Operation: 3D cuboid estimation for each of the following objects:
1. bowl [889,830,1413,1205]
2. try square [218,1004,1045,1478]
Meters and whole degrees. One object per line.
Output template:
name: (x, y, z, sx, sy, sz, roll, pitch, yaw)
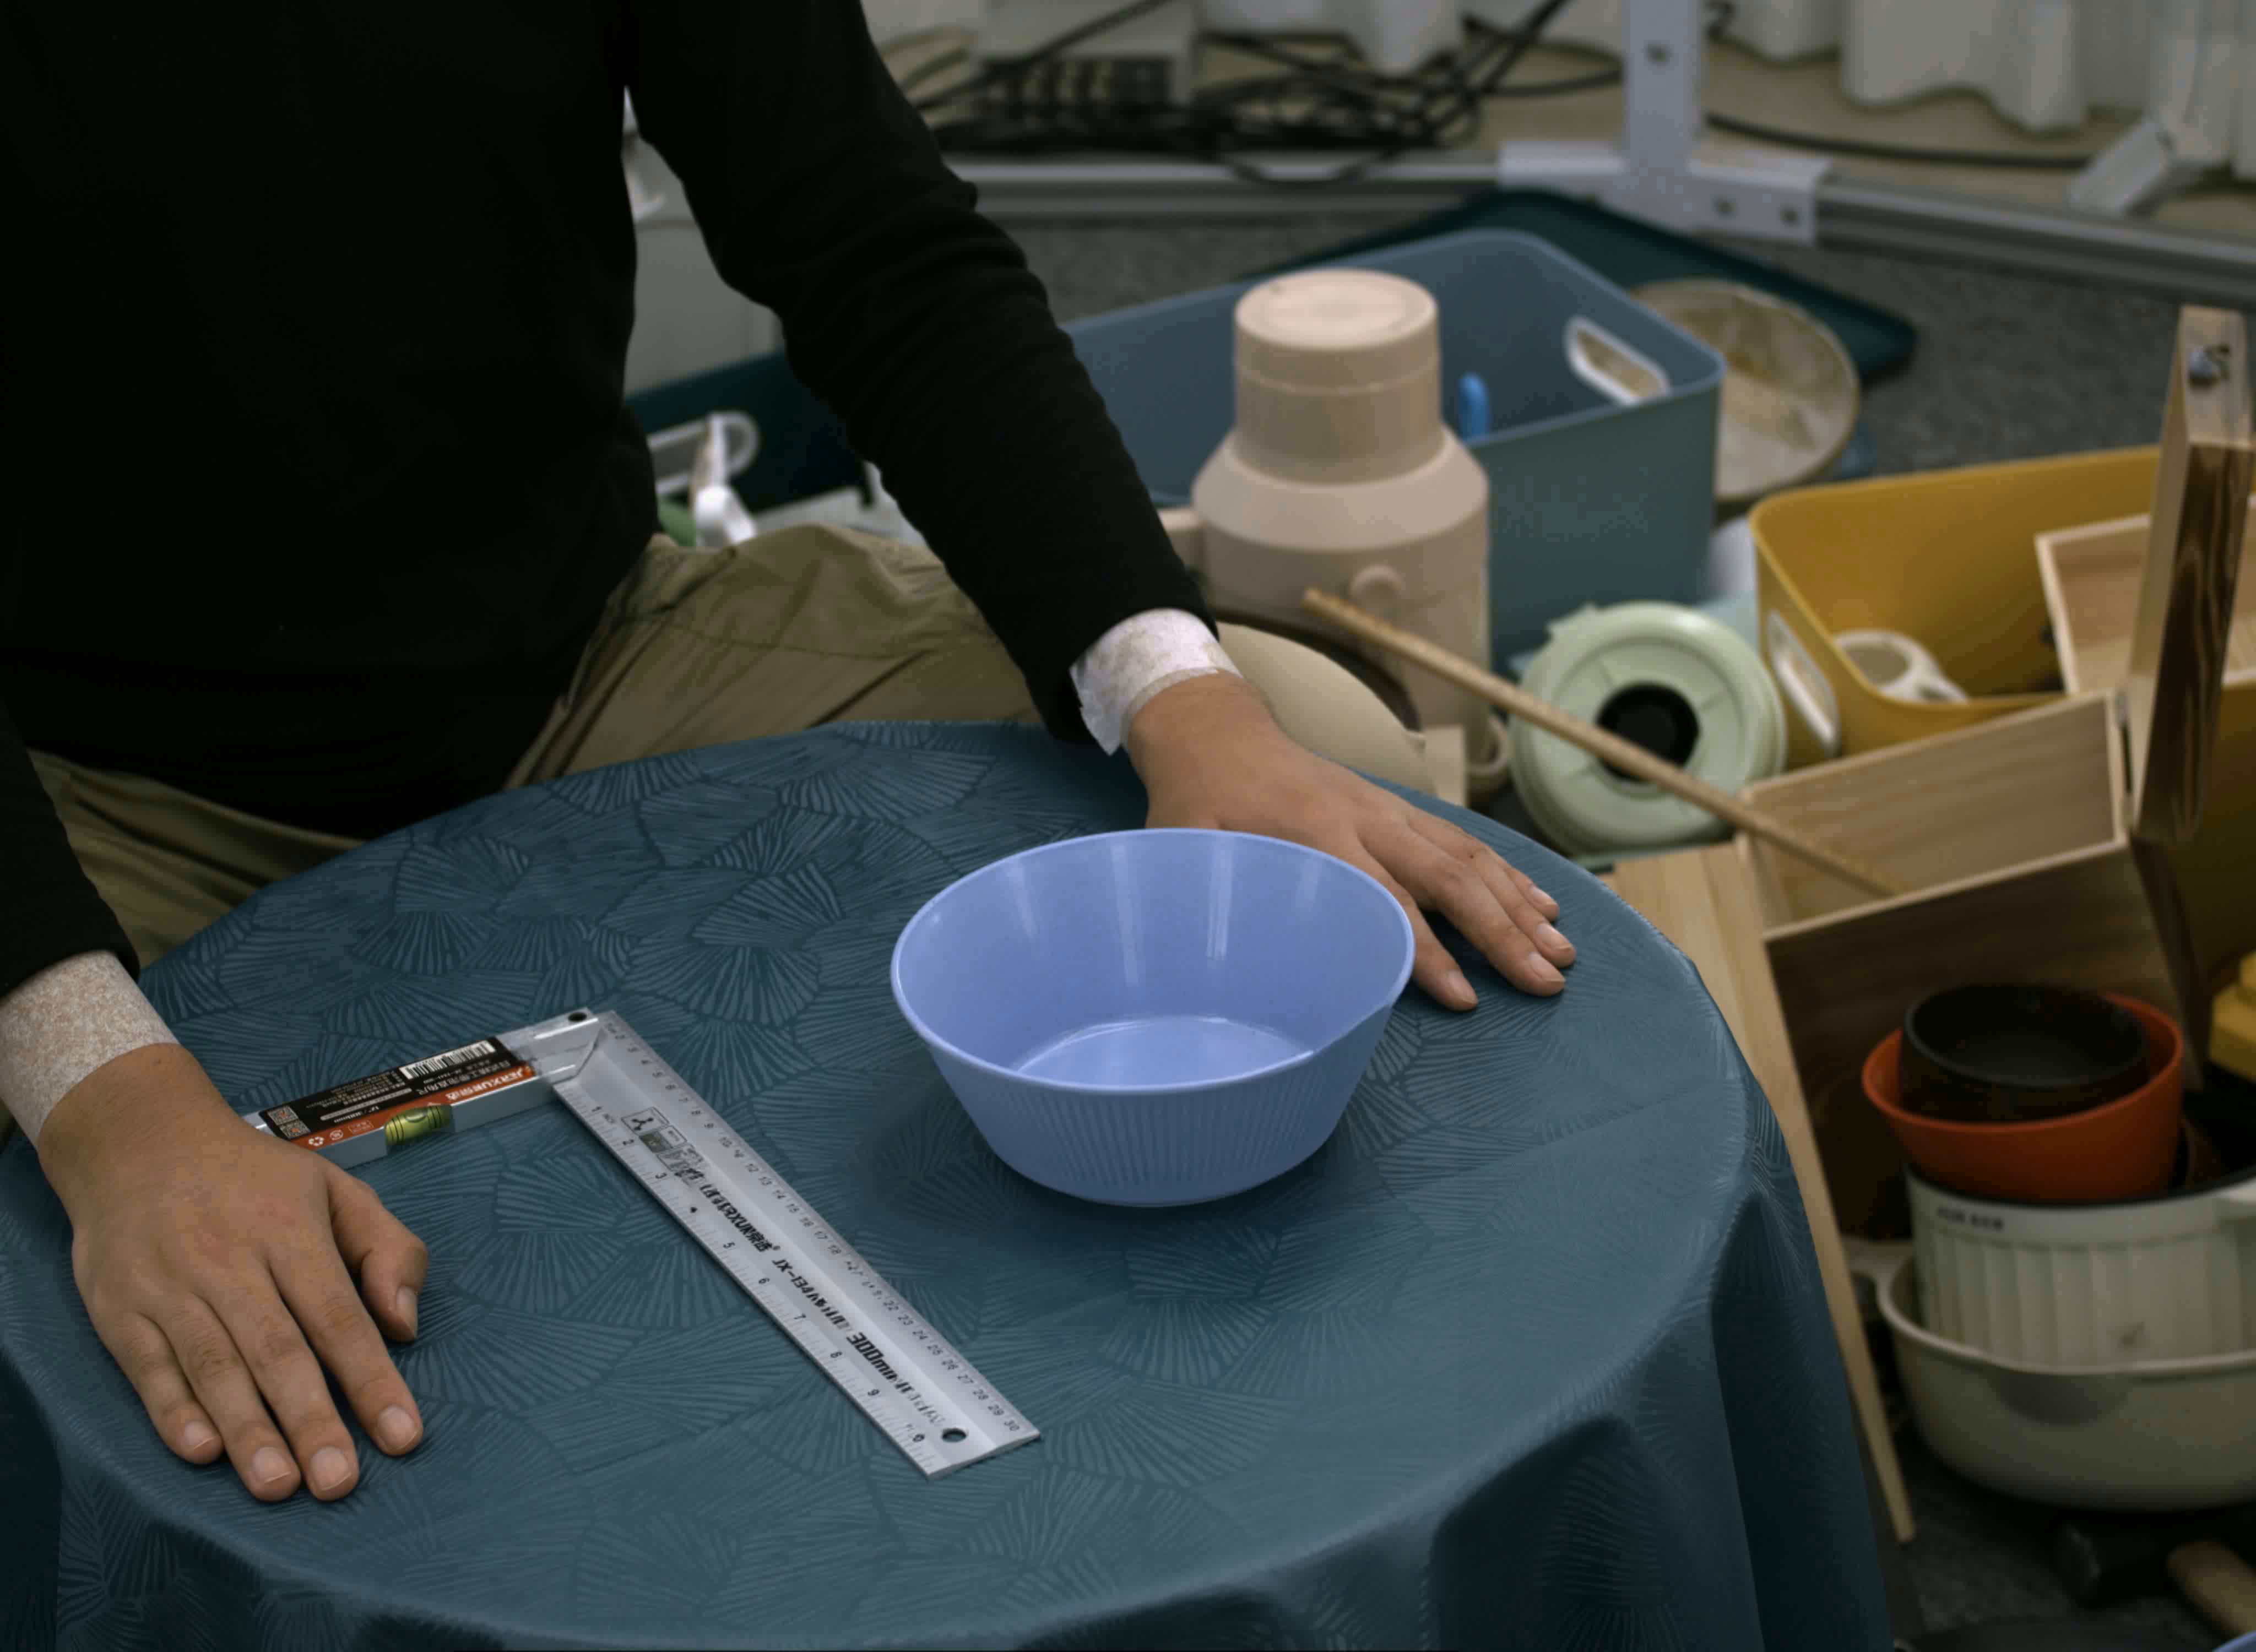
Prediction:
bowl: (0.009, 0.070, 1.885, 0.175, 0.069, 0.179, -2, 28, 2)
try square: (-0.168, 0.149, 1.823, 0.153, 0.016, 0.314, -21, 33, -23)
